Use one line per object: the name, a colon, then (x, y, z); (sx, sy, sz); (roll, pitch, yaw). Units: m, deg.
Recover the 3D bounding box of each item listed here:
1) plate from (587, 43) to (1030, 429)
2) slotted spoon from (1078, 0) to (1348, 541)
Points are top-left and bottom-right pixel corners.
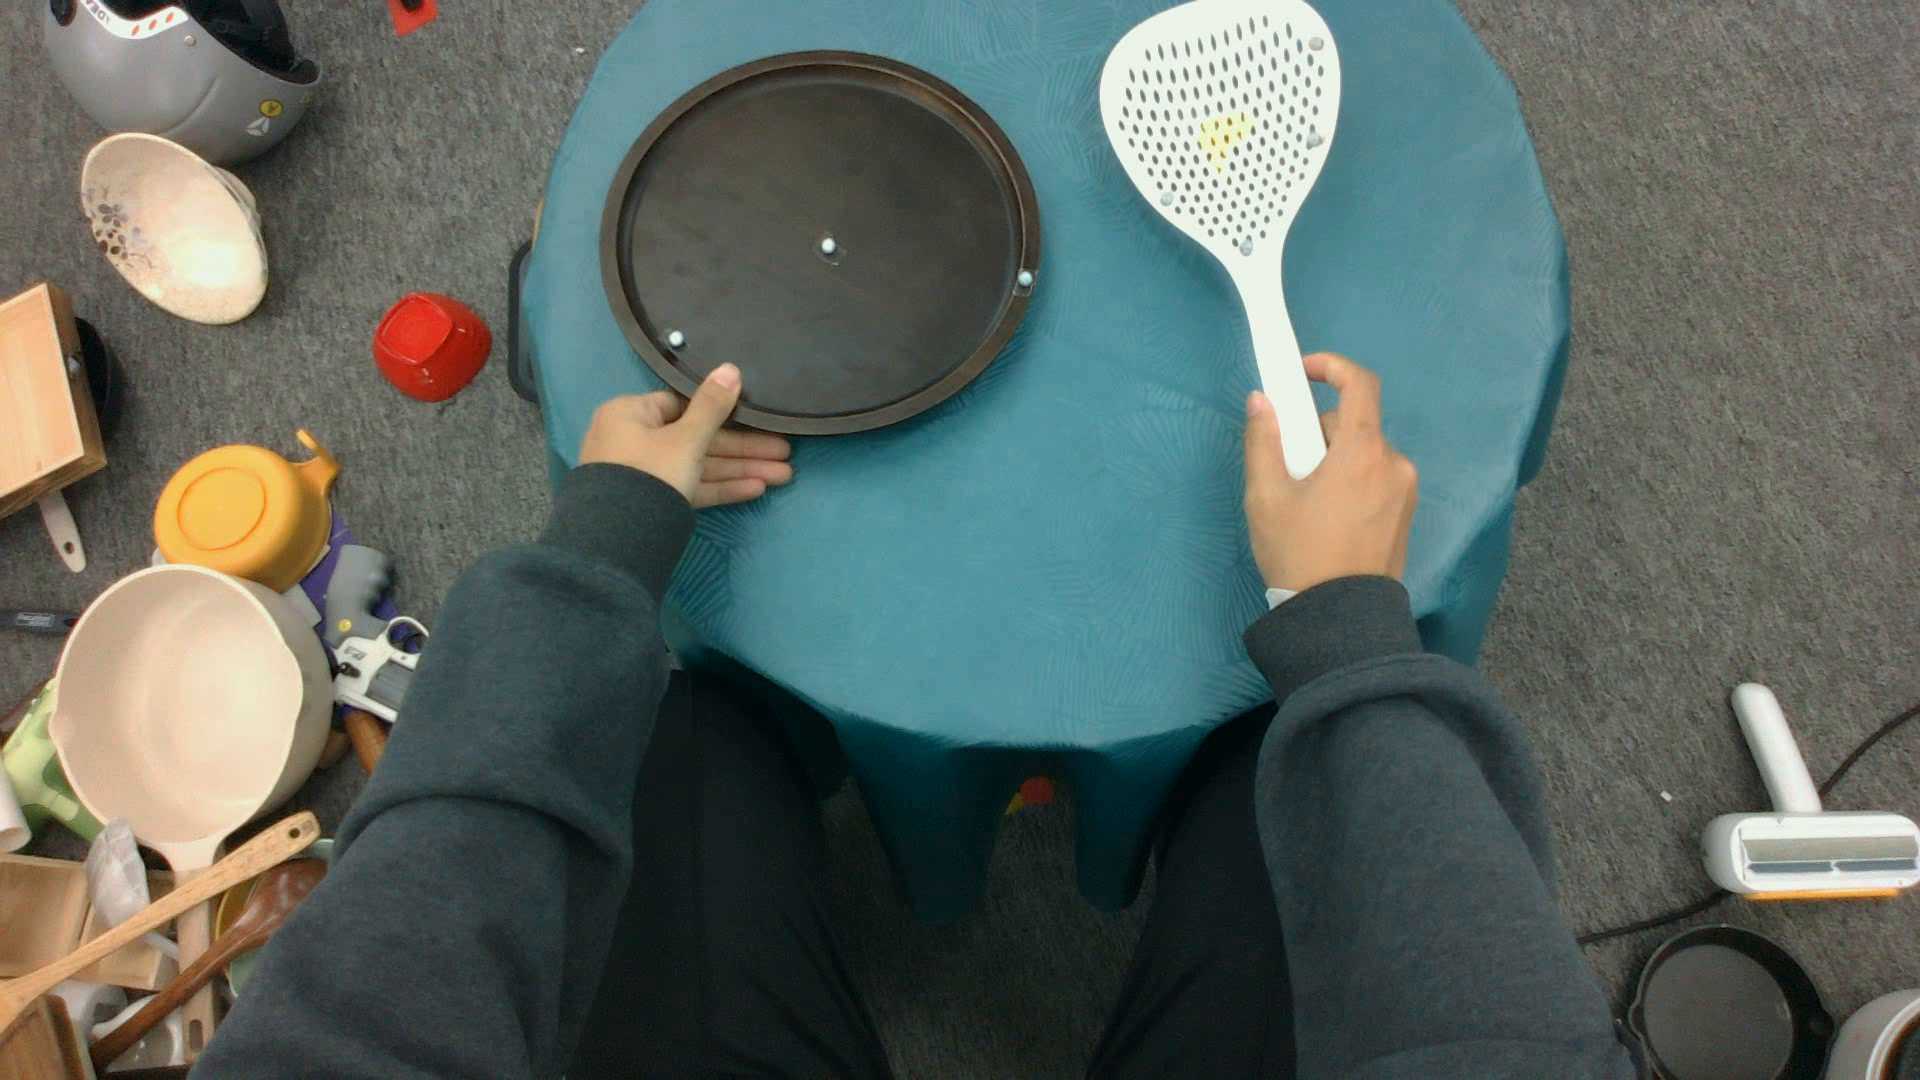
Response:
plate: (-0.087, -0.179, 0.795); (0.255, 0.029, 0.255); (0, 70, -1)
slotted spoon: (0.156, -0.164, 0.763); (0.136, 0.050, 0.349); (-13, 65, 9)
